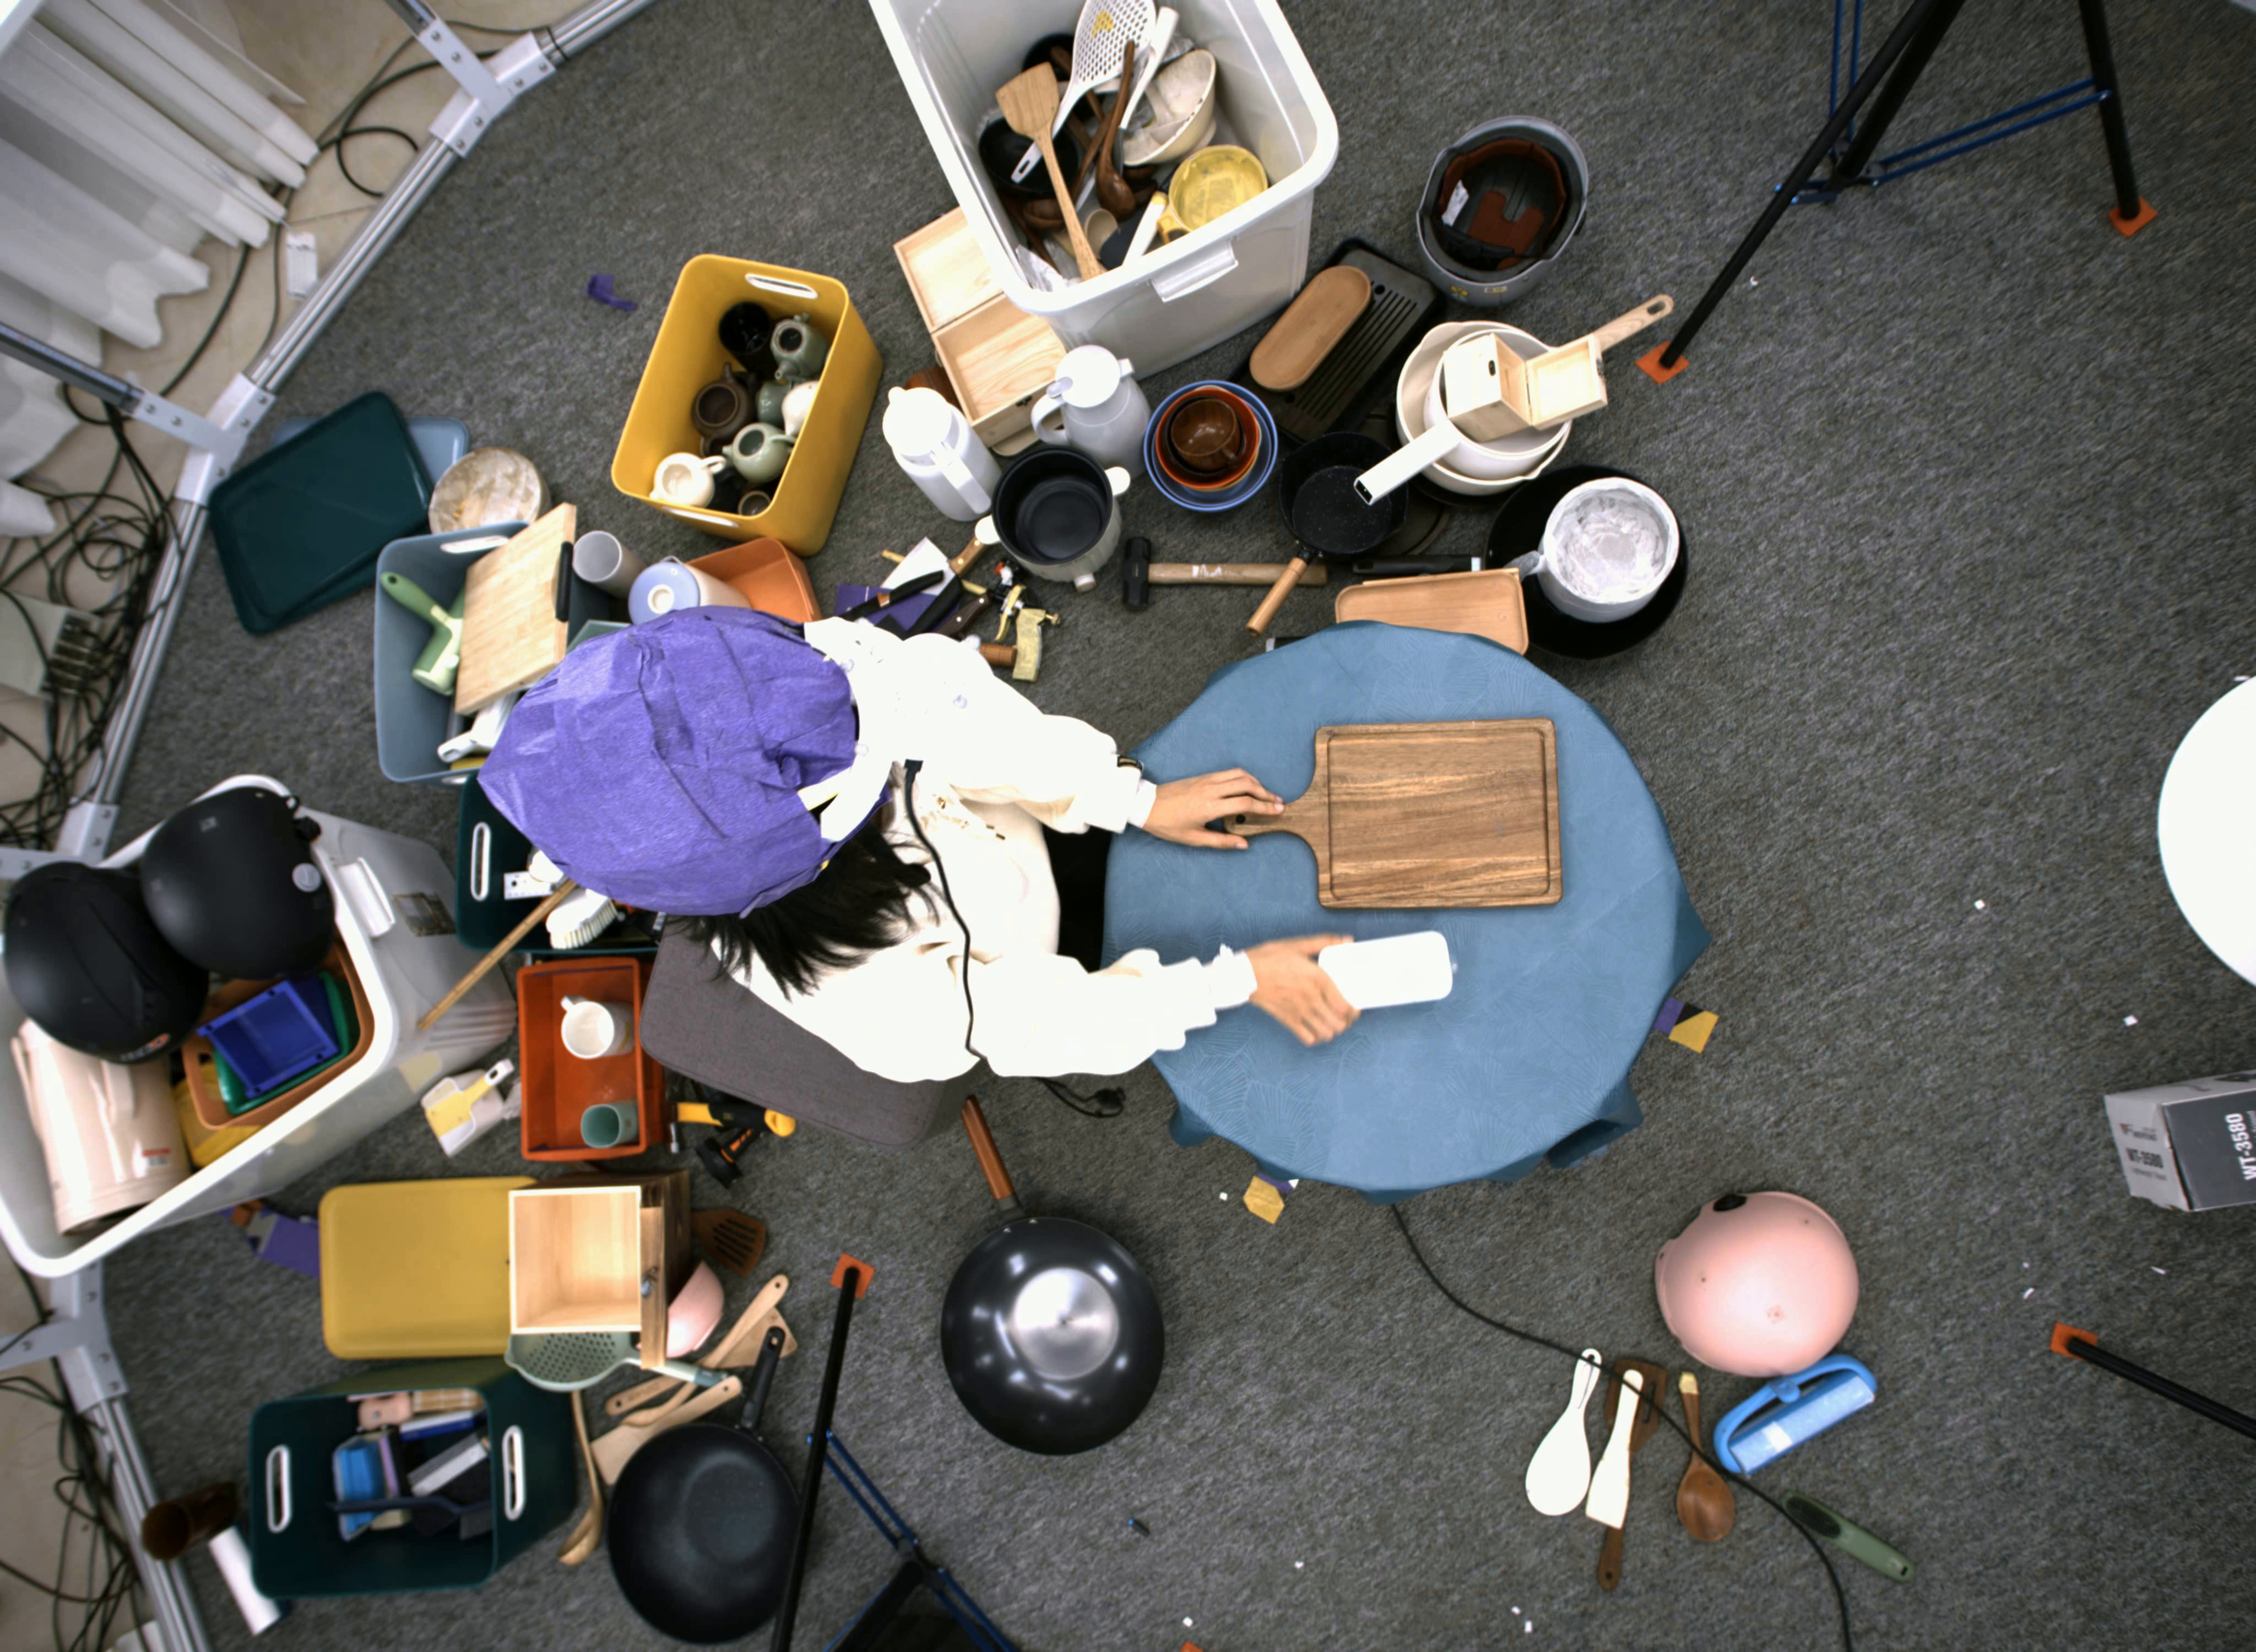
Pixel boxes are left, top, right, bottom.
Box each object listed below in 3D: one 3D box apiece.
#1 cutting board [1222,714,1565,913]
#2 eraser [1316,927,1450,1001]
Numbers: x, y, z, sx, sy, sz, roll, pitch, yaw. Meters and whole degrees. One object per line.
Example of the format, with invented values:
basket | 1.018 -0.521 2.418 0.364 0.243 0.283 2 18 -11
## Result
cutting board | 0.275 -0.012 1.453 0.353 0.023 0.200 -2 86 10
eraser | 0.259 0.137 1.402 0.132 0.034 0.063 -10 90 16
